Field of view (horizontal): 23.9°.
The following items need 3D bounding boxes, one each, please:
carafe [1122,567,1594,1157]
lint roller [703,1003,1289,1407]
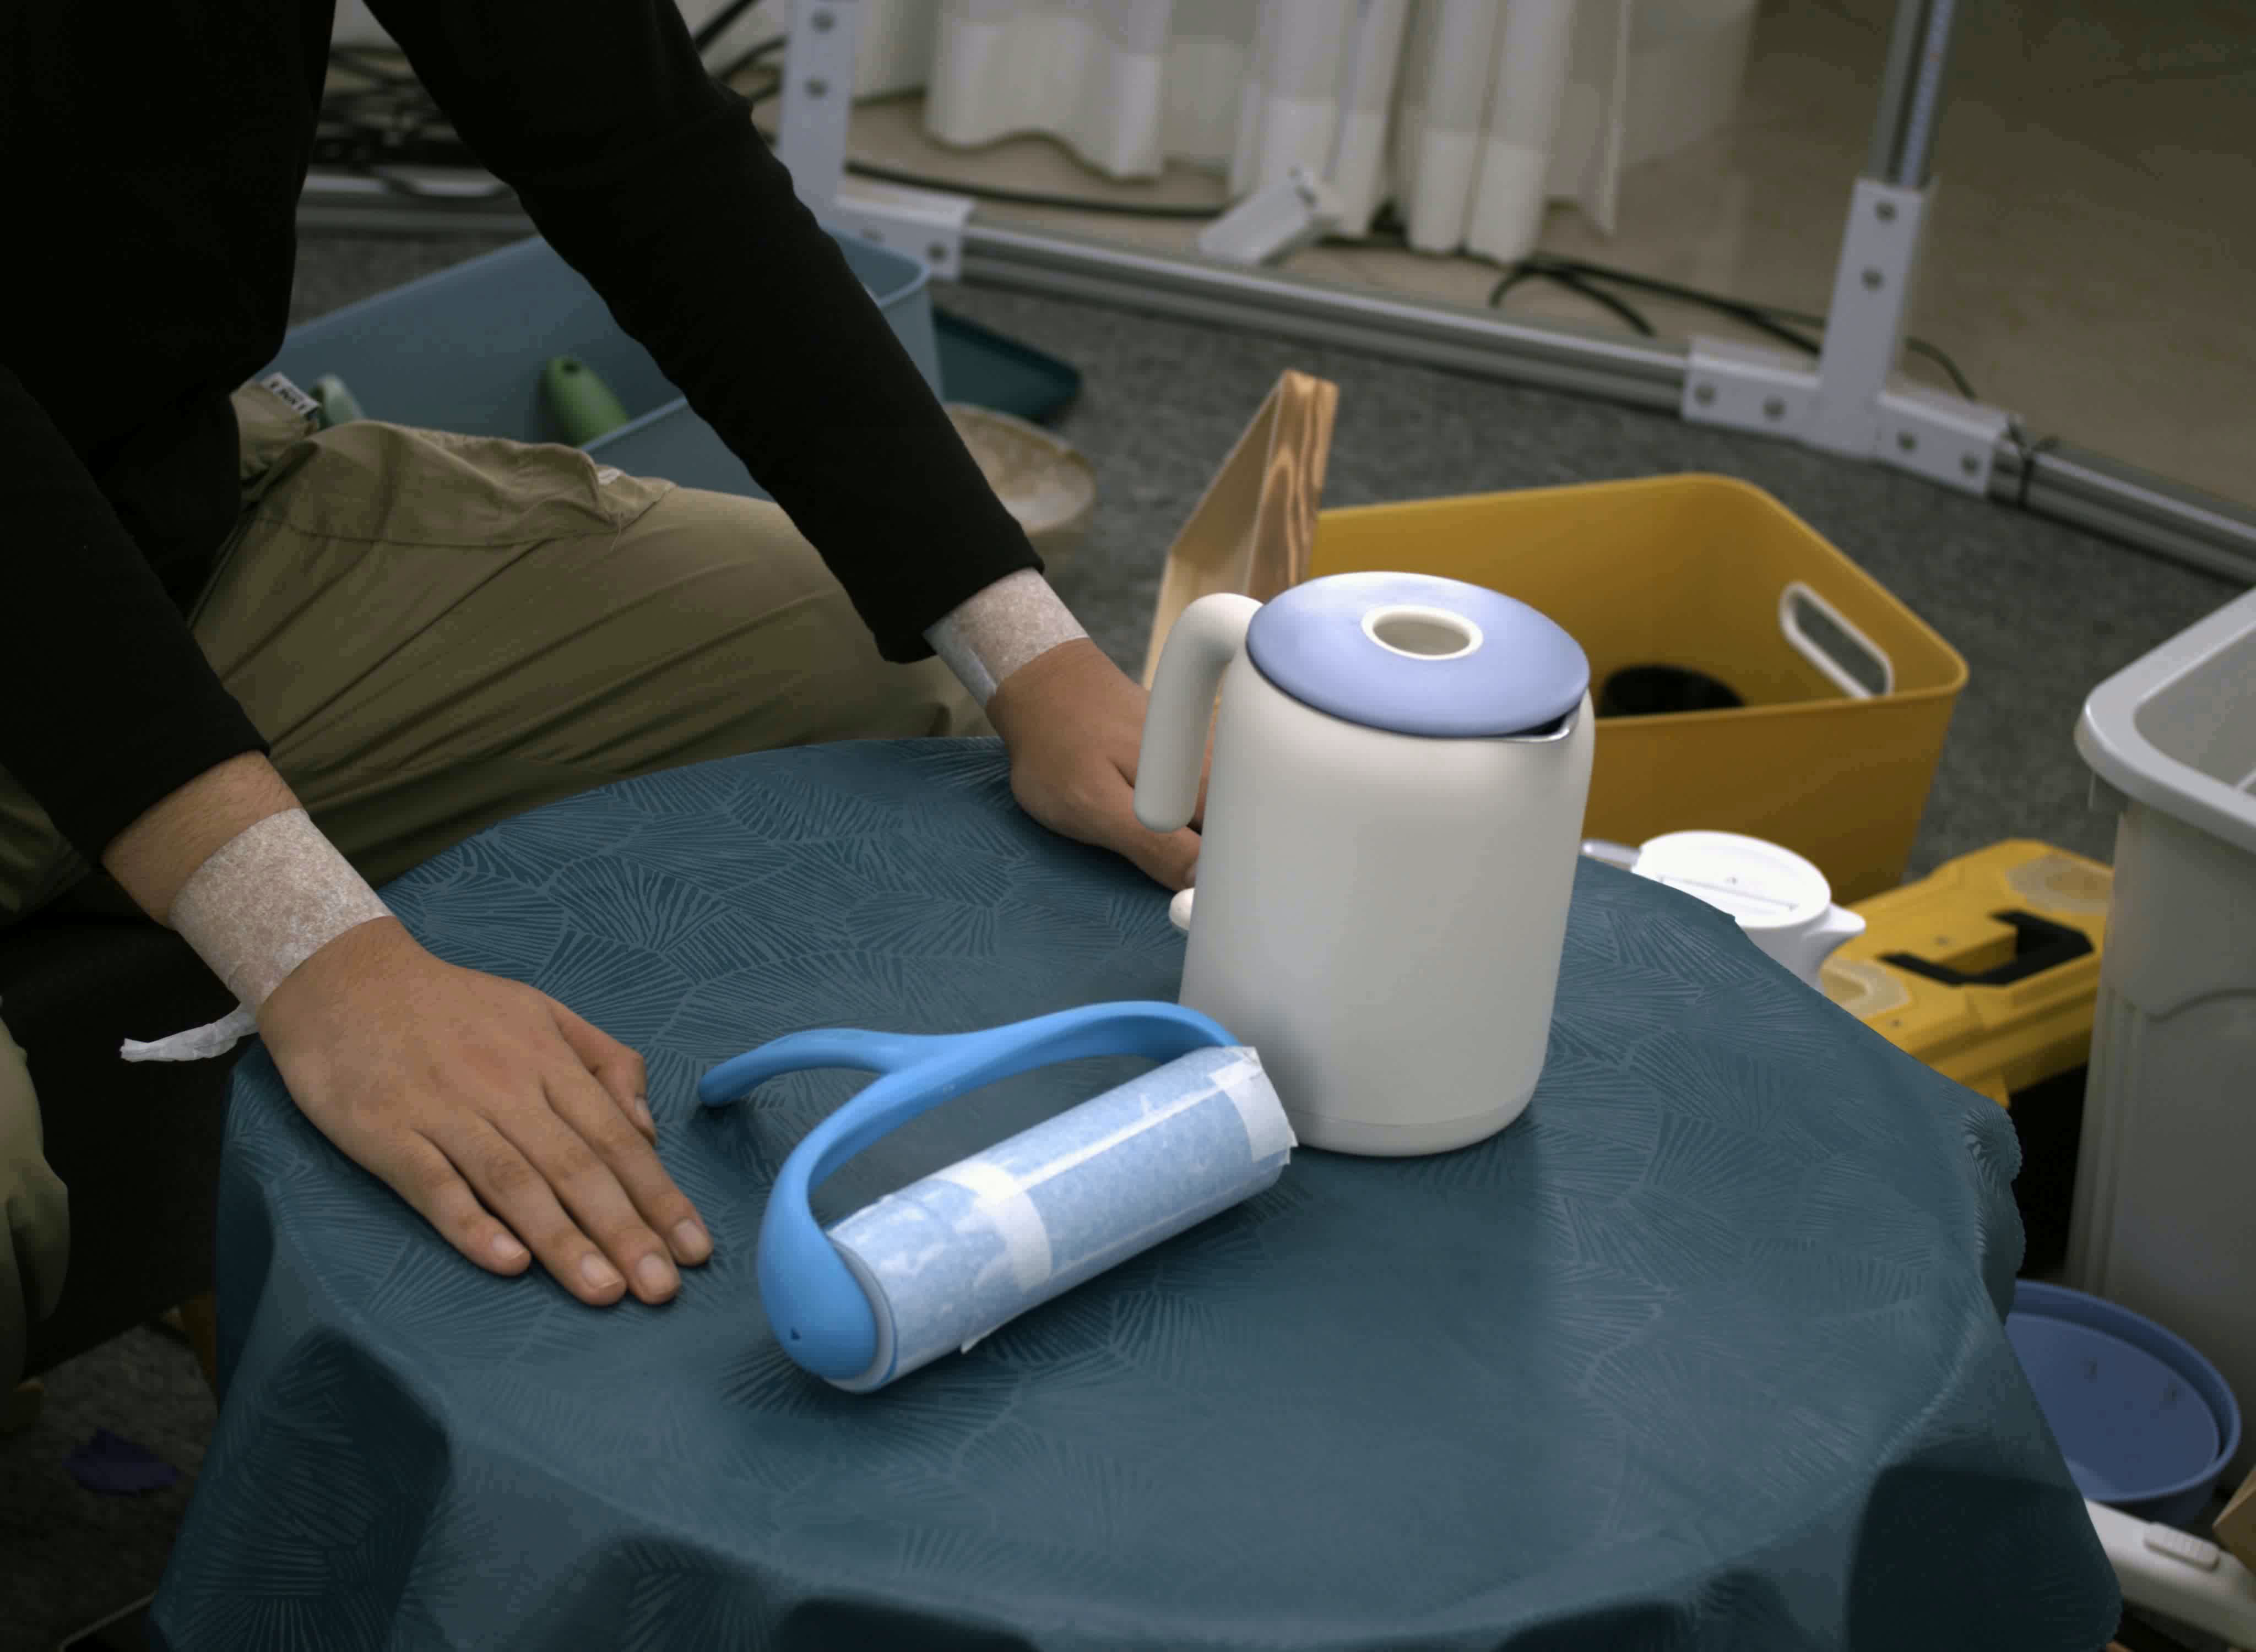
[{"bbox_3d":[0.072,0.003,1.866,0.192,0.182,0.131,26,32,38],"label":"carafe"},{"bbox_3d":[-0.073,0.102,1.763,0.181,0.067,0.228,30,38,29],"label":"lint roller"}]
